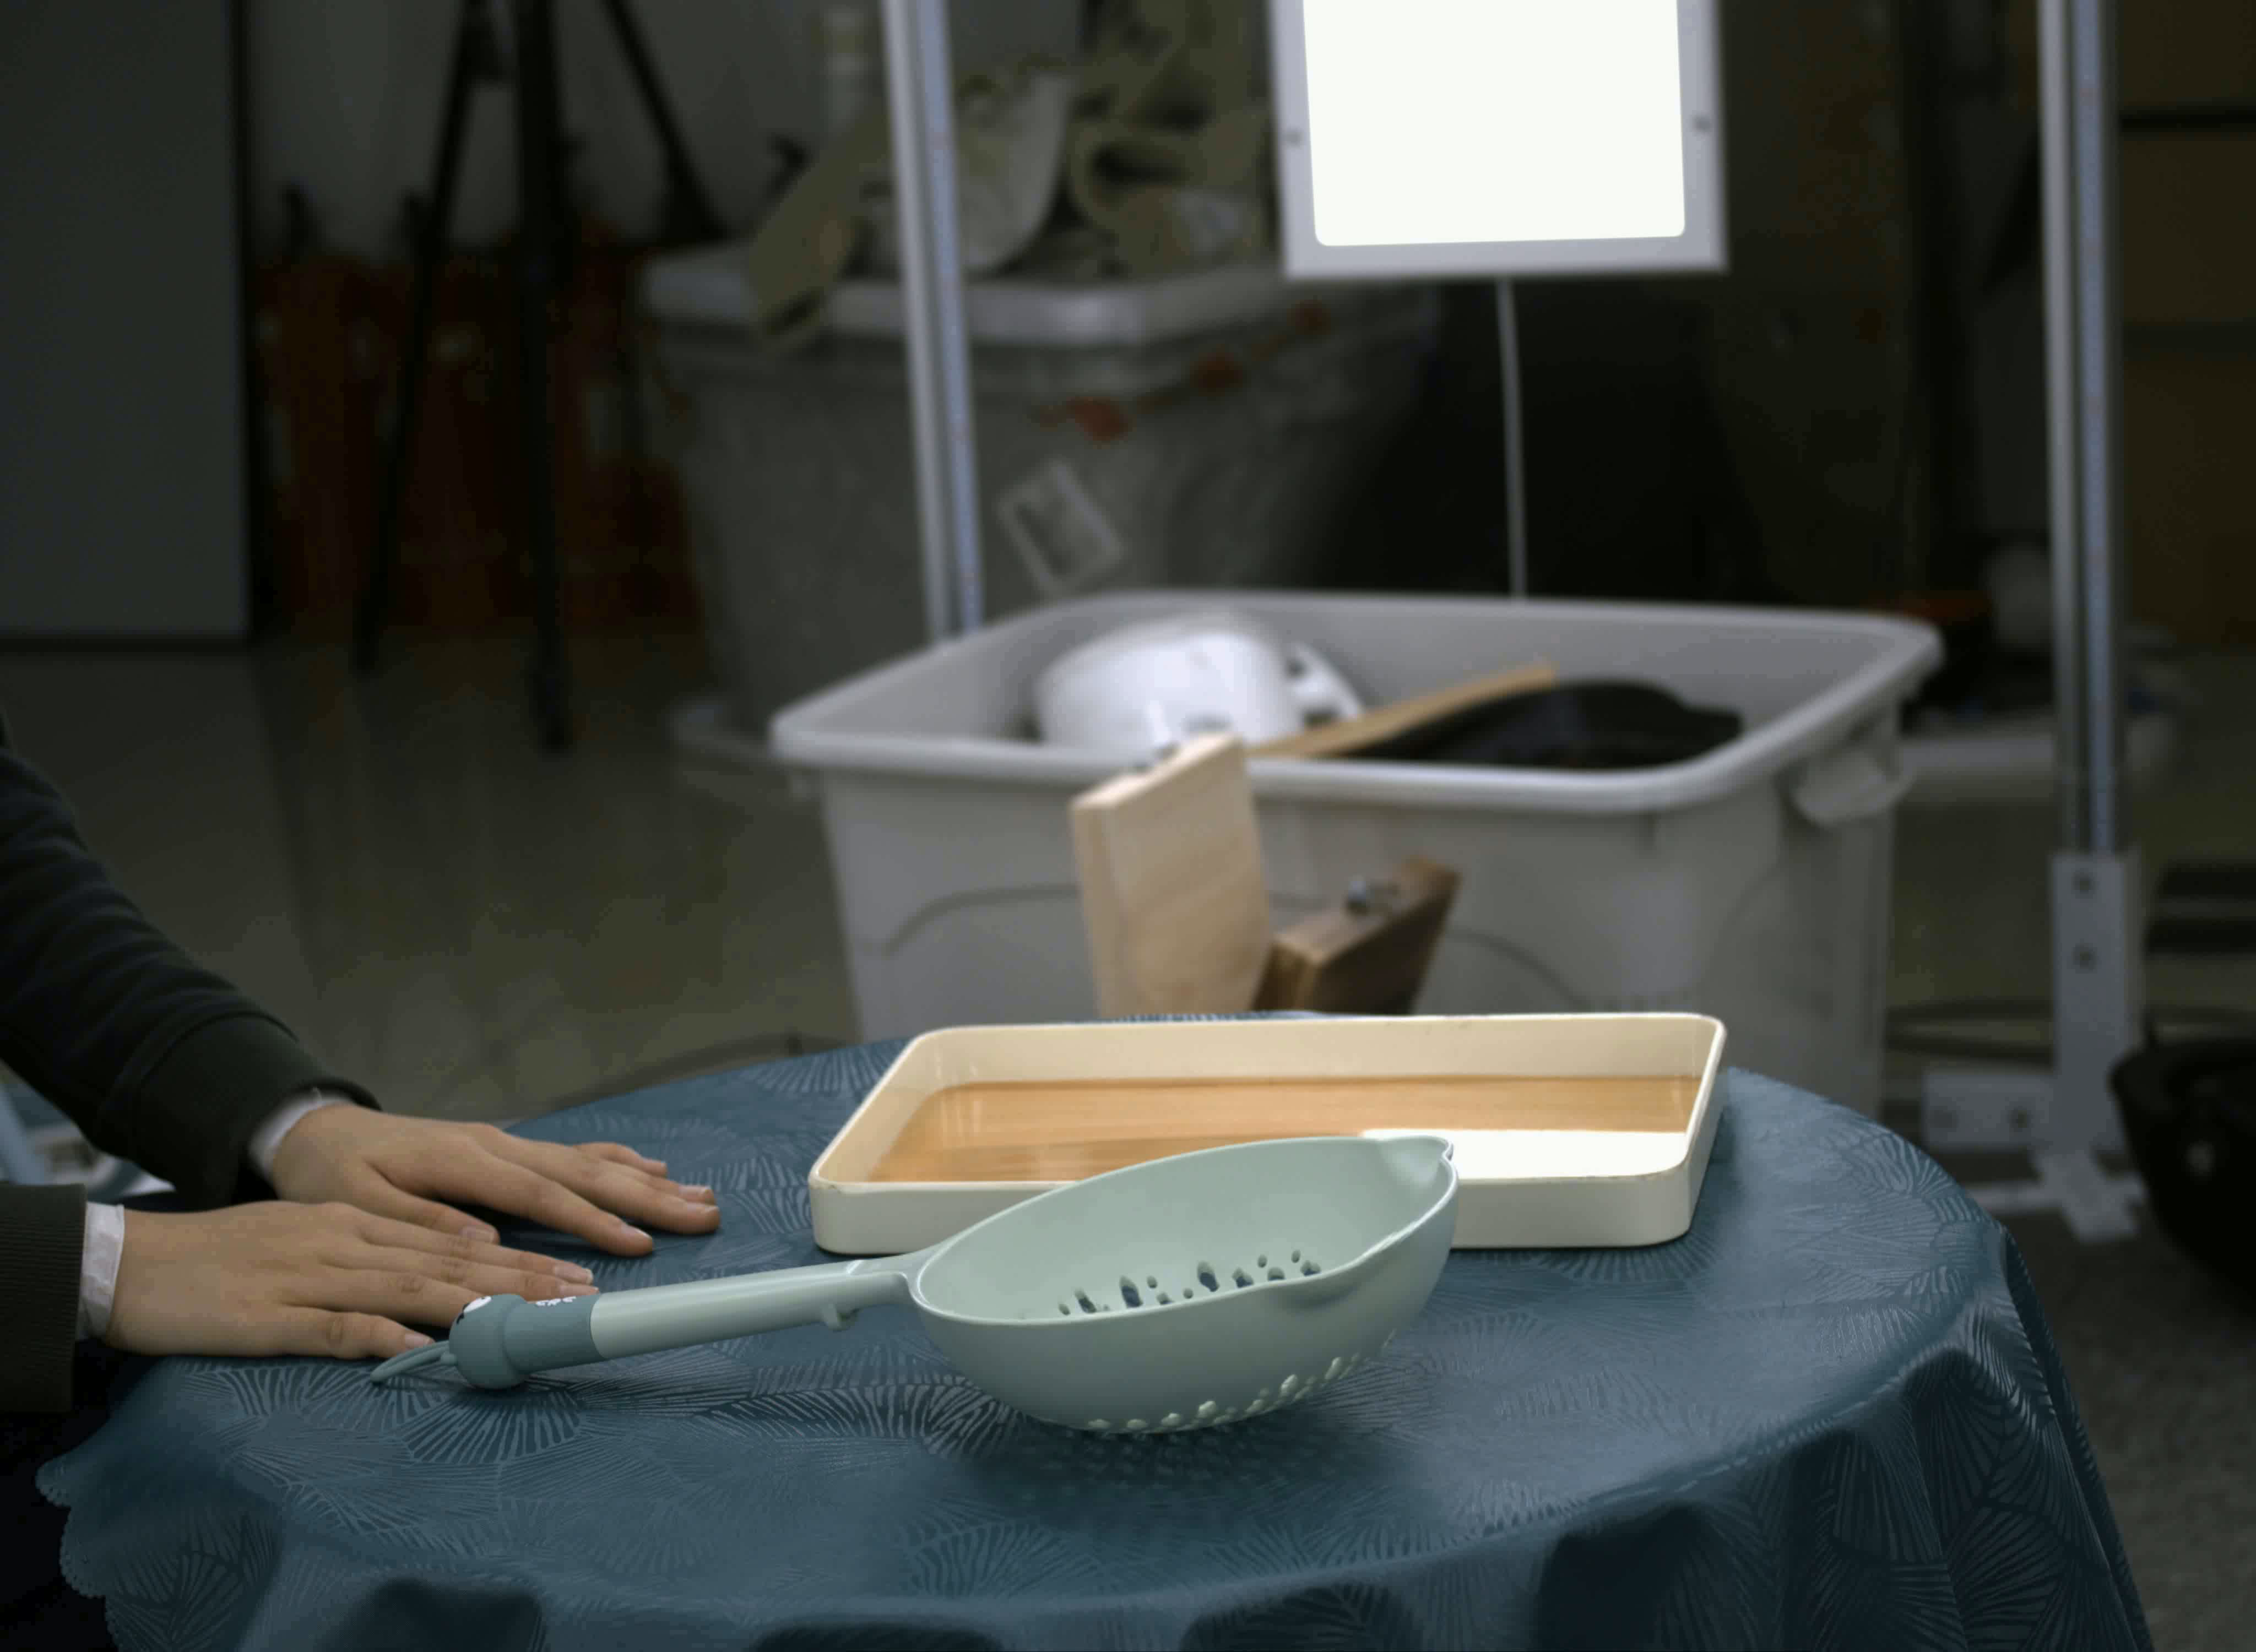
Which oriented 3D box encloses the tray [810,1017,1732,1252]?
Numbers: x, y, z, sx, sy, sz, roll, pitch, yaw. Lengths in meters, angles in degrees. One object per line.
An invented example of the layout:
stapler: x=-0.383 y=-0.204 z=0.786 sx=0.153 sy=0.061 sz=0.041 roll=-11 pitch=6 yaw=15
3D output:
tray: x=0.054 y=0.106 z=1.907 sx=0.303 sy=0.027 sz=0.189 roll=-1 pitch=14 yaw=14

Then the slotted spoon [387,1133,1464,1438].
slotted spoon: x=-0.070 y=0.146 z=1.707 sx=0.363 sy=0.075 sz=0.166 roll=0 pitch=14 yaw=20
